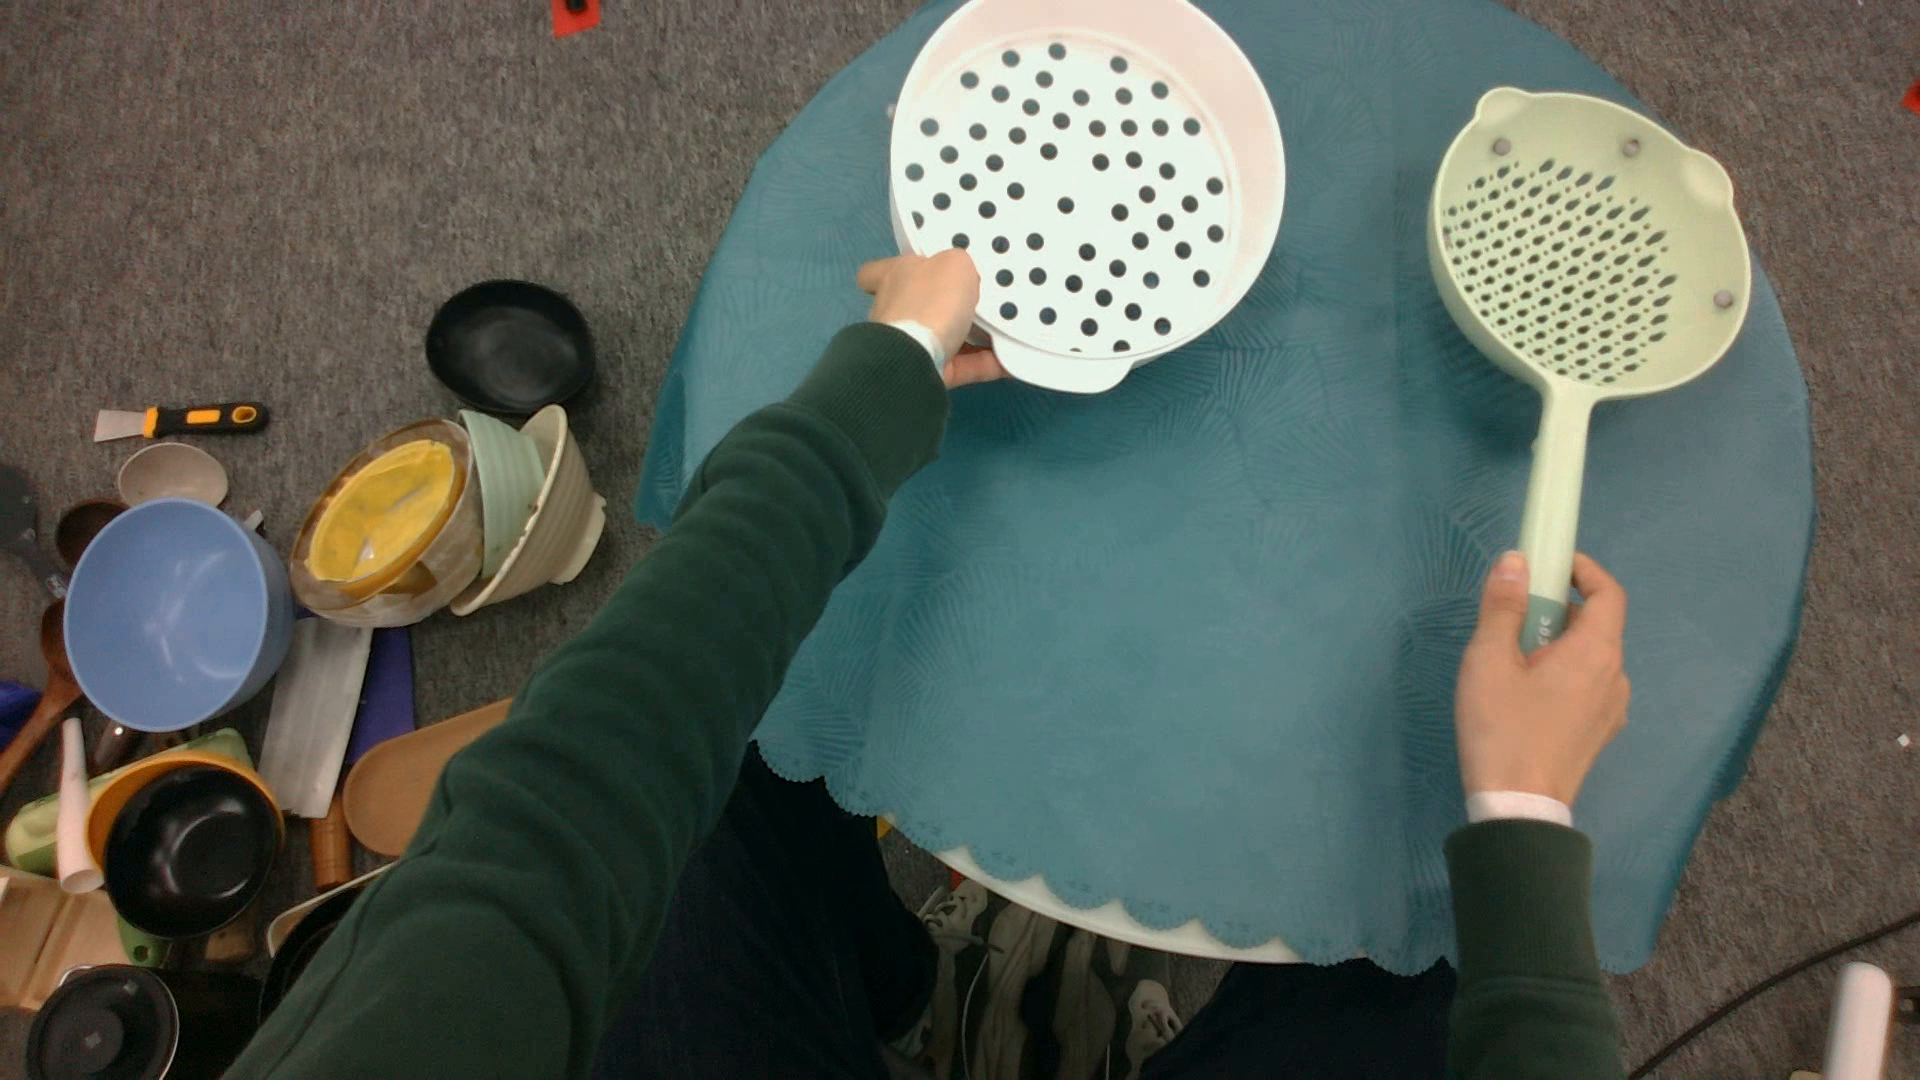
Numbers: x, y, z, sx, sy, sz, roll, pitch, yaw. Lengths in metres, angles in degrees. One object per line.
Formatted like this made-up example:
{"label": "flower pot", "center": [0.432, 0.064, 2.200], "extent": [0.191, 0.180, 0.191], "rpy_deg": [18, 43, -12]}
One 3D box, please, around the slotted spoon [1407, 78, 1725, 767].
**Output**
{"label": "slotted spoon", "center": [0.282, -0.066, 0.673], "extent": [0.169, 0.075, 0.360], "rpy_deg": [17, 62, -3]}

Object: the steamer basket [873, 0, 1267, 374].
{"label": "steamer basket", "center": [0.053, -0.194, 0.717], "extent": [0.202, 0.069, 0.231], "rpy_deg": [9, 83, -7]}
